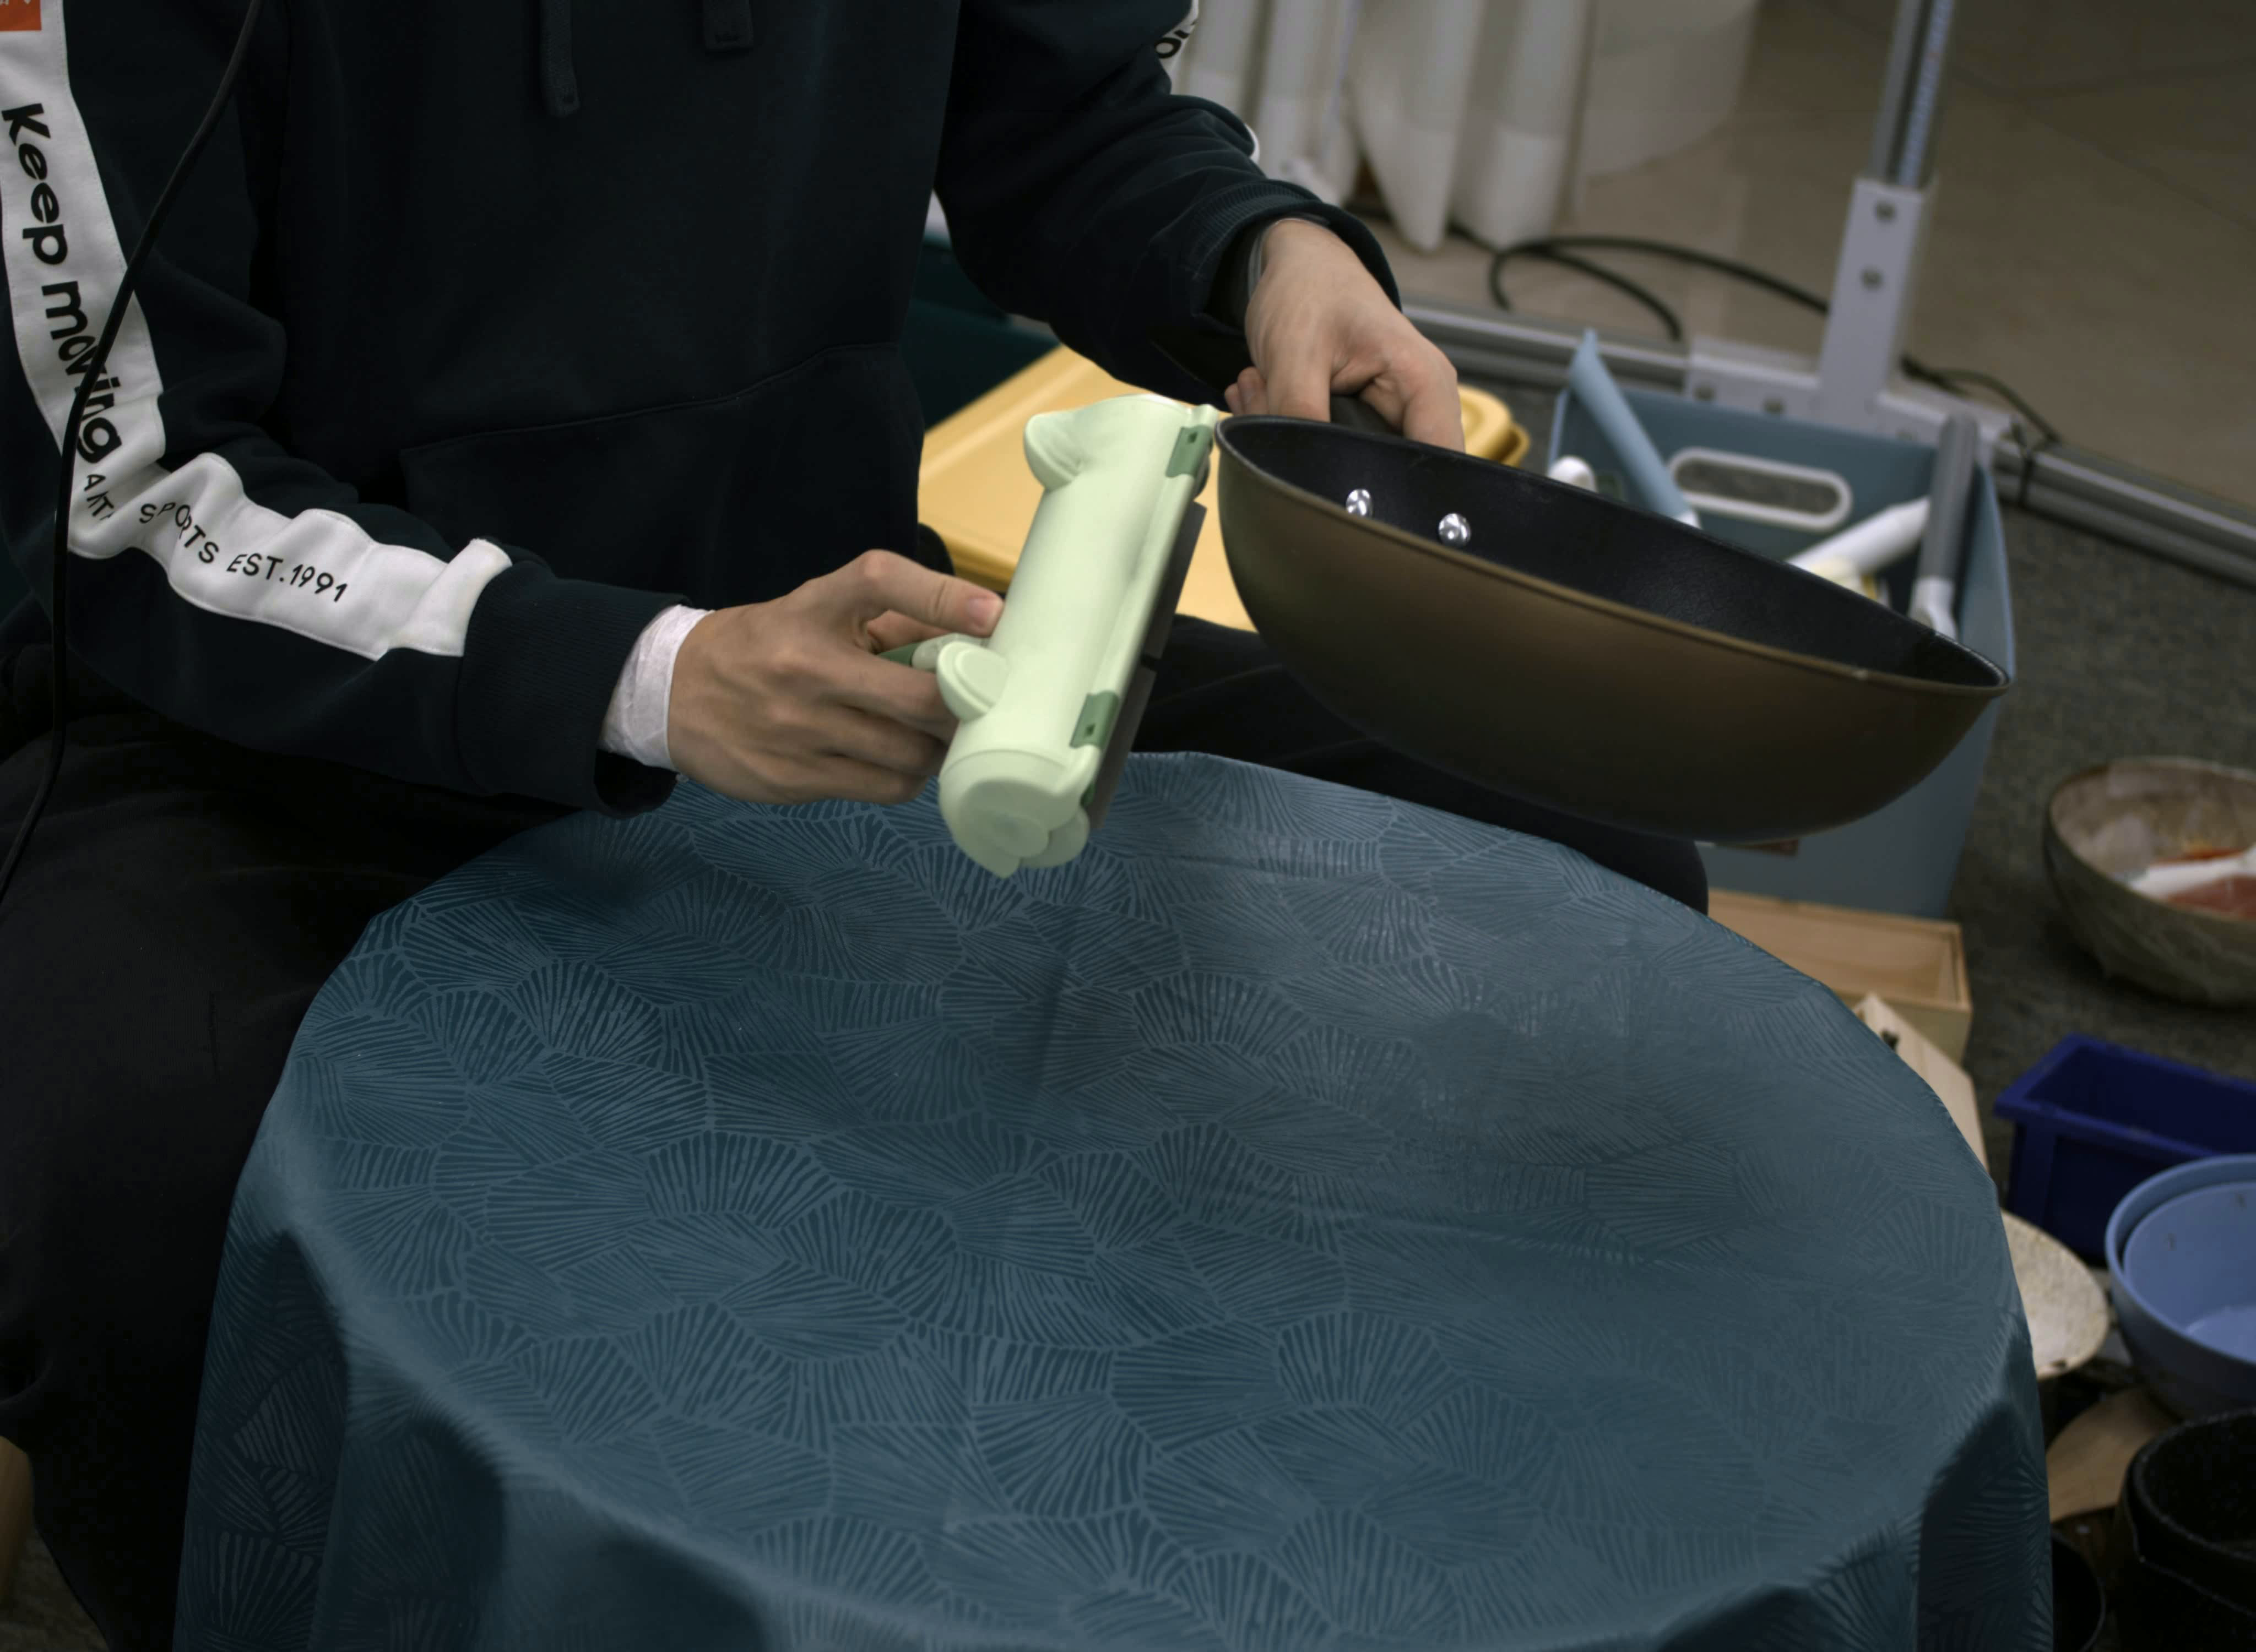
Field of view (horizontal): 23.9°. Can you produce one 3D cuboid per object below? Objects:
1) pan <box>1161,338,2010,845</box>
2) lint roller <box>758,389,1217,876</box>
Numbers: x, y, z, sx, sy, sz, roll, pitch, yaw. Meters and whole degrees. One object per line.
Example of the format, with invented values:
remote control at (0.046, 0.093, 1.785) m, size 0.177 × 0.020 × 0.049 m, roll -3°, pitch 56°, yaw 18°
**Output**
pan at (0.108, -0.085, 1.867) m, size 0.285 × 0.087 × 0.467 m, roll 12°, pitch 12°, yaw -31°
lint roller at (-0.067, -0.065, 1.845) m, size 0.184 × 0.081 × 0.200 m, roll -12°, pitch 40°, yaw 29°
